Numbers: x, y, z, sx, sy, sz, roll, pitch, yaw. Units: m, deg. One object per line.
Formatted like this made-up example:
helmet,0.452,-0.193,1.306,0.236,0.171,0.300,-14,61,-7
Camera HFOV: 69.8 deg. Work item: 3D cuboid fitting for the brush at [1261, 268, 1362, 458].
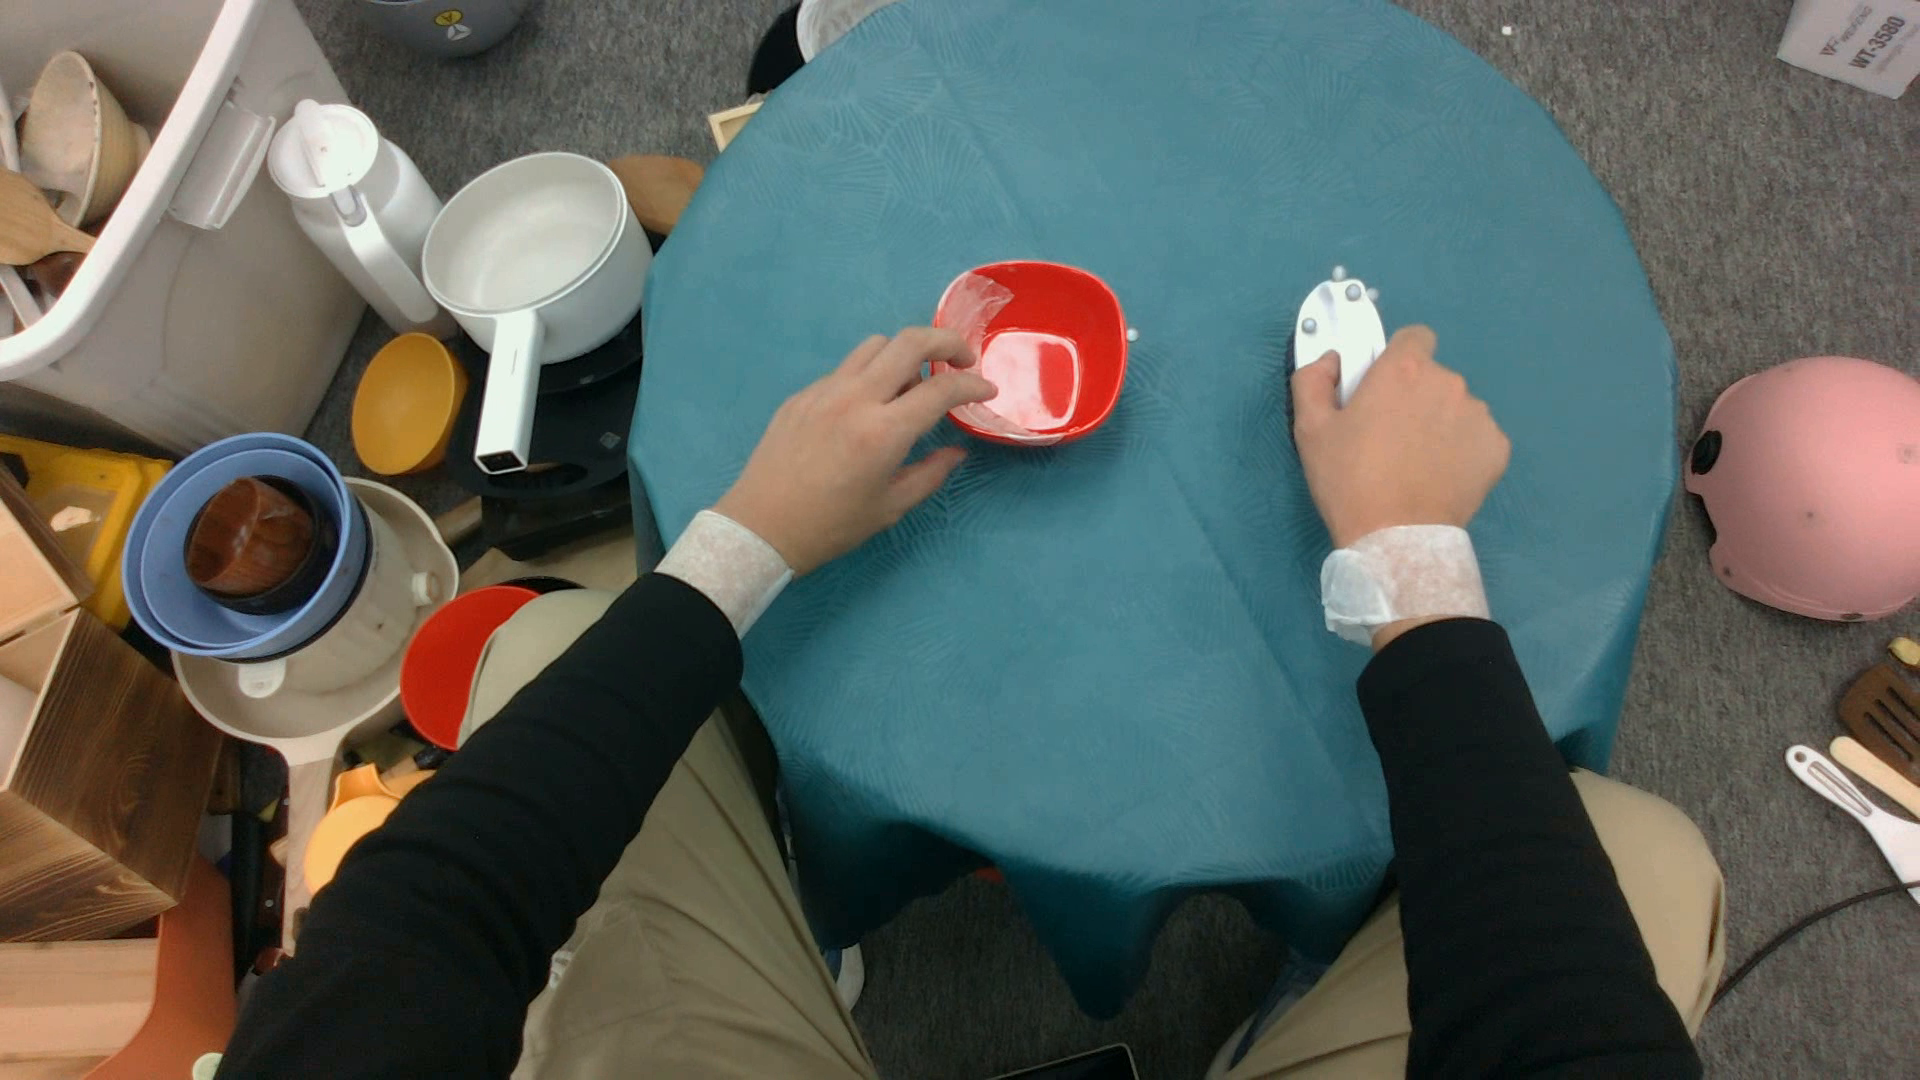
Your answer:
brush,0.199,-0.104,0.765,0.050,0.072,0.099,3,71,2

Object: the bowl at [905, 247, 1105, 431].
bowl,0.025,-0.106,0.780,0.119,0.051,0.119,0,69,0
